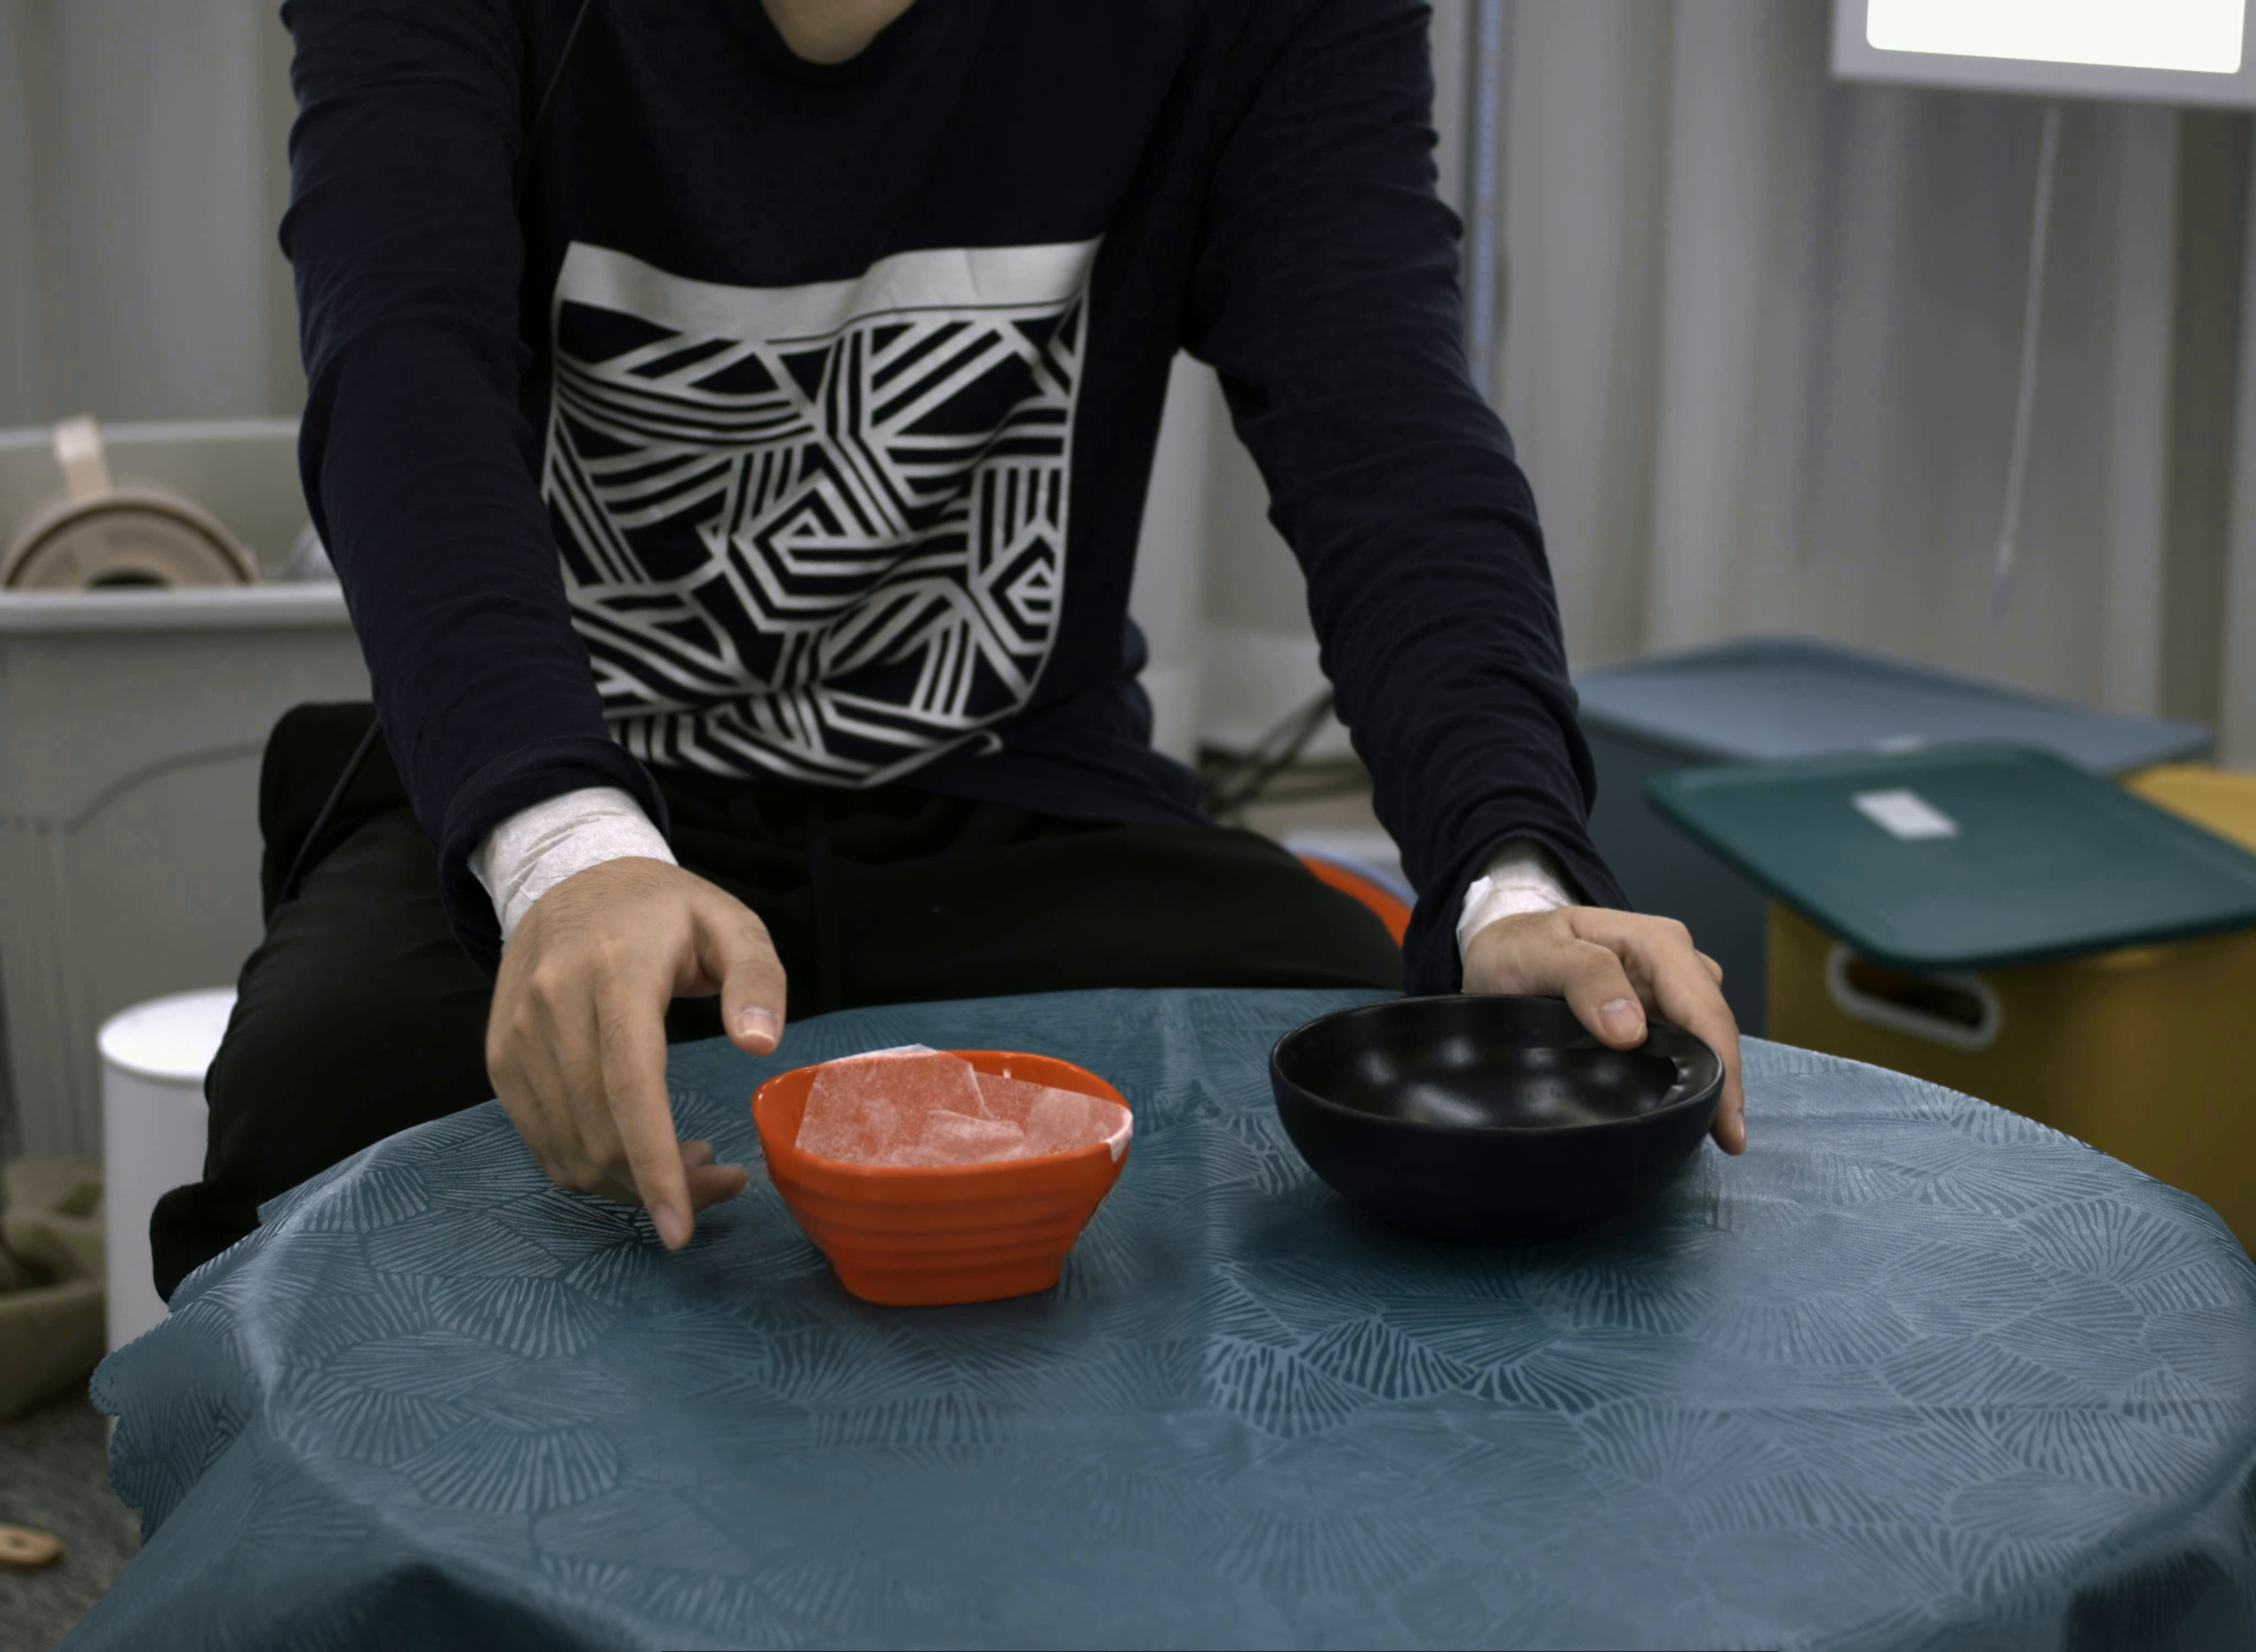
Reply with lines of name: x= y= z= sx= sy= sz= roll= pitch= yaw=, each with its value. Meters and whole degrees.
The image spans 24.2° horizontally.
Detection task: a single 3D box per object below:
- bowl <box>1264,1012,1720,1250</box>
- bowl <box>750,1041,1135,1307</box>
bowl: x=0.111 y=0.096 z=1.604 sx=0.139 sy=0.050 sz=0.139 roll=0 pitch=11 yaw=1
bowl: x=-0.055 y=0.105 z=1.552 sx=0.118 sy=0.052 sz=0.118 roll=0 pitch=17 yaw=1
